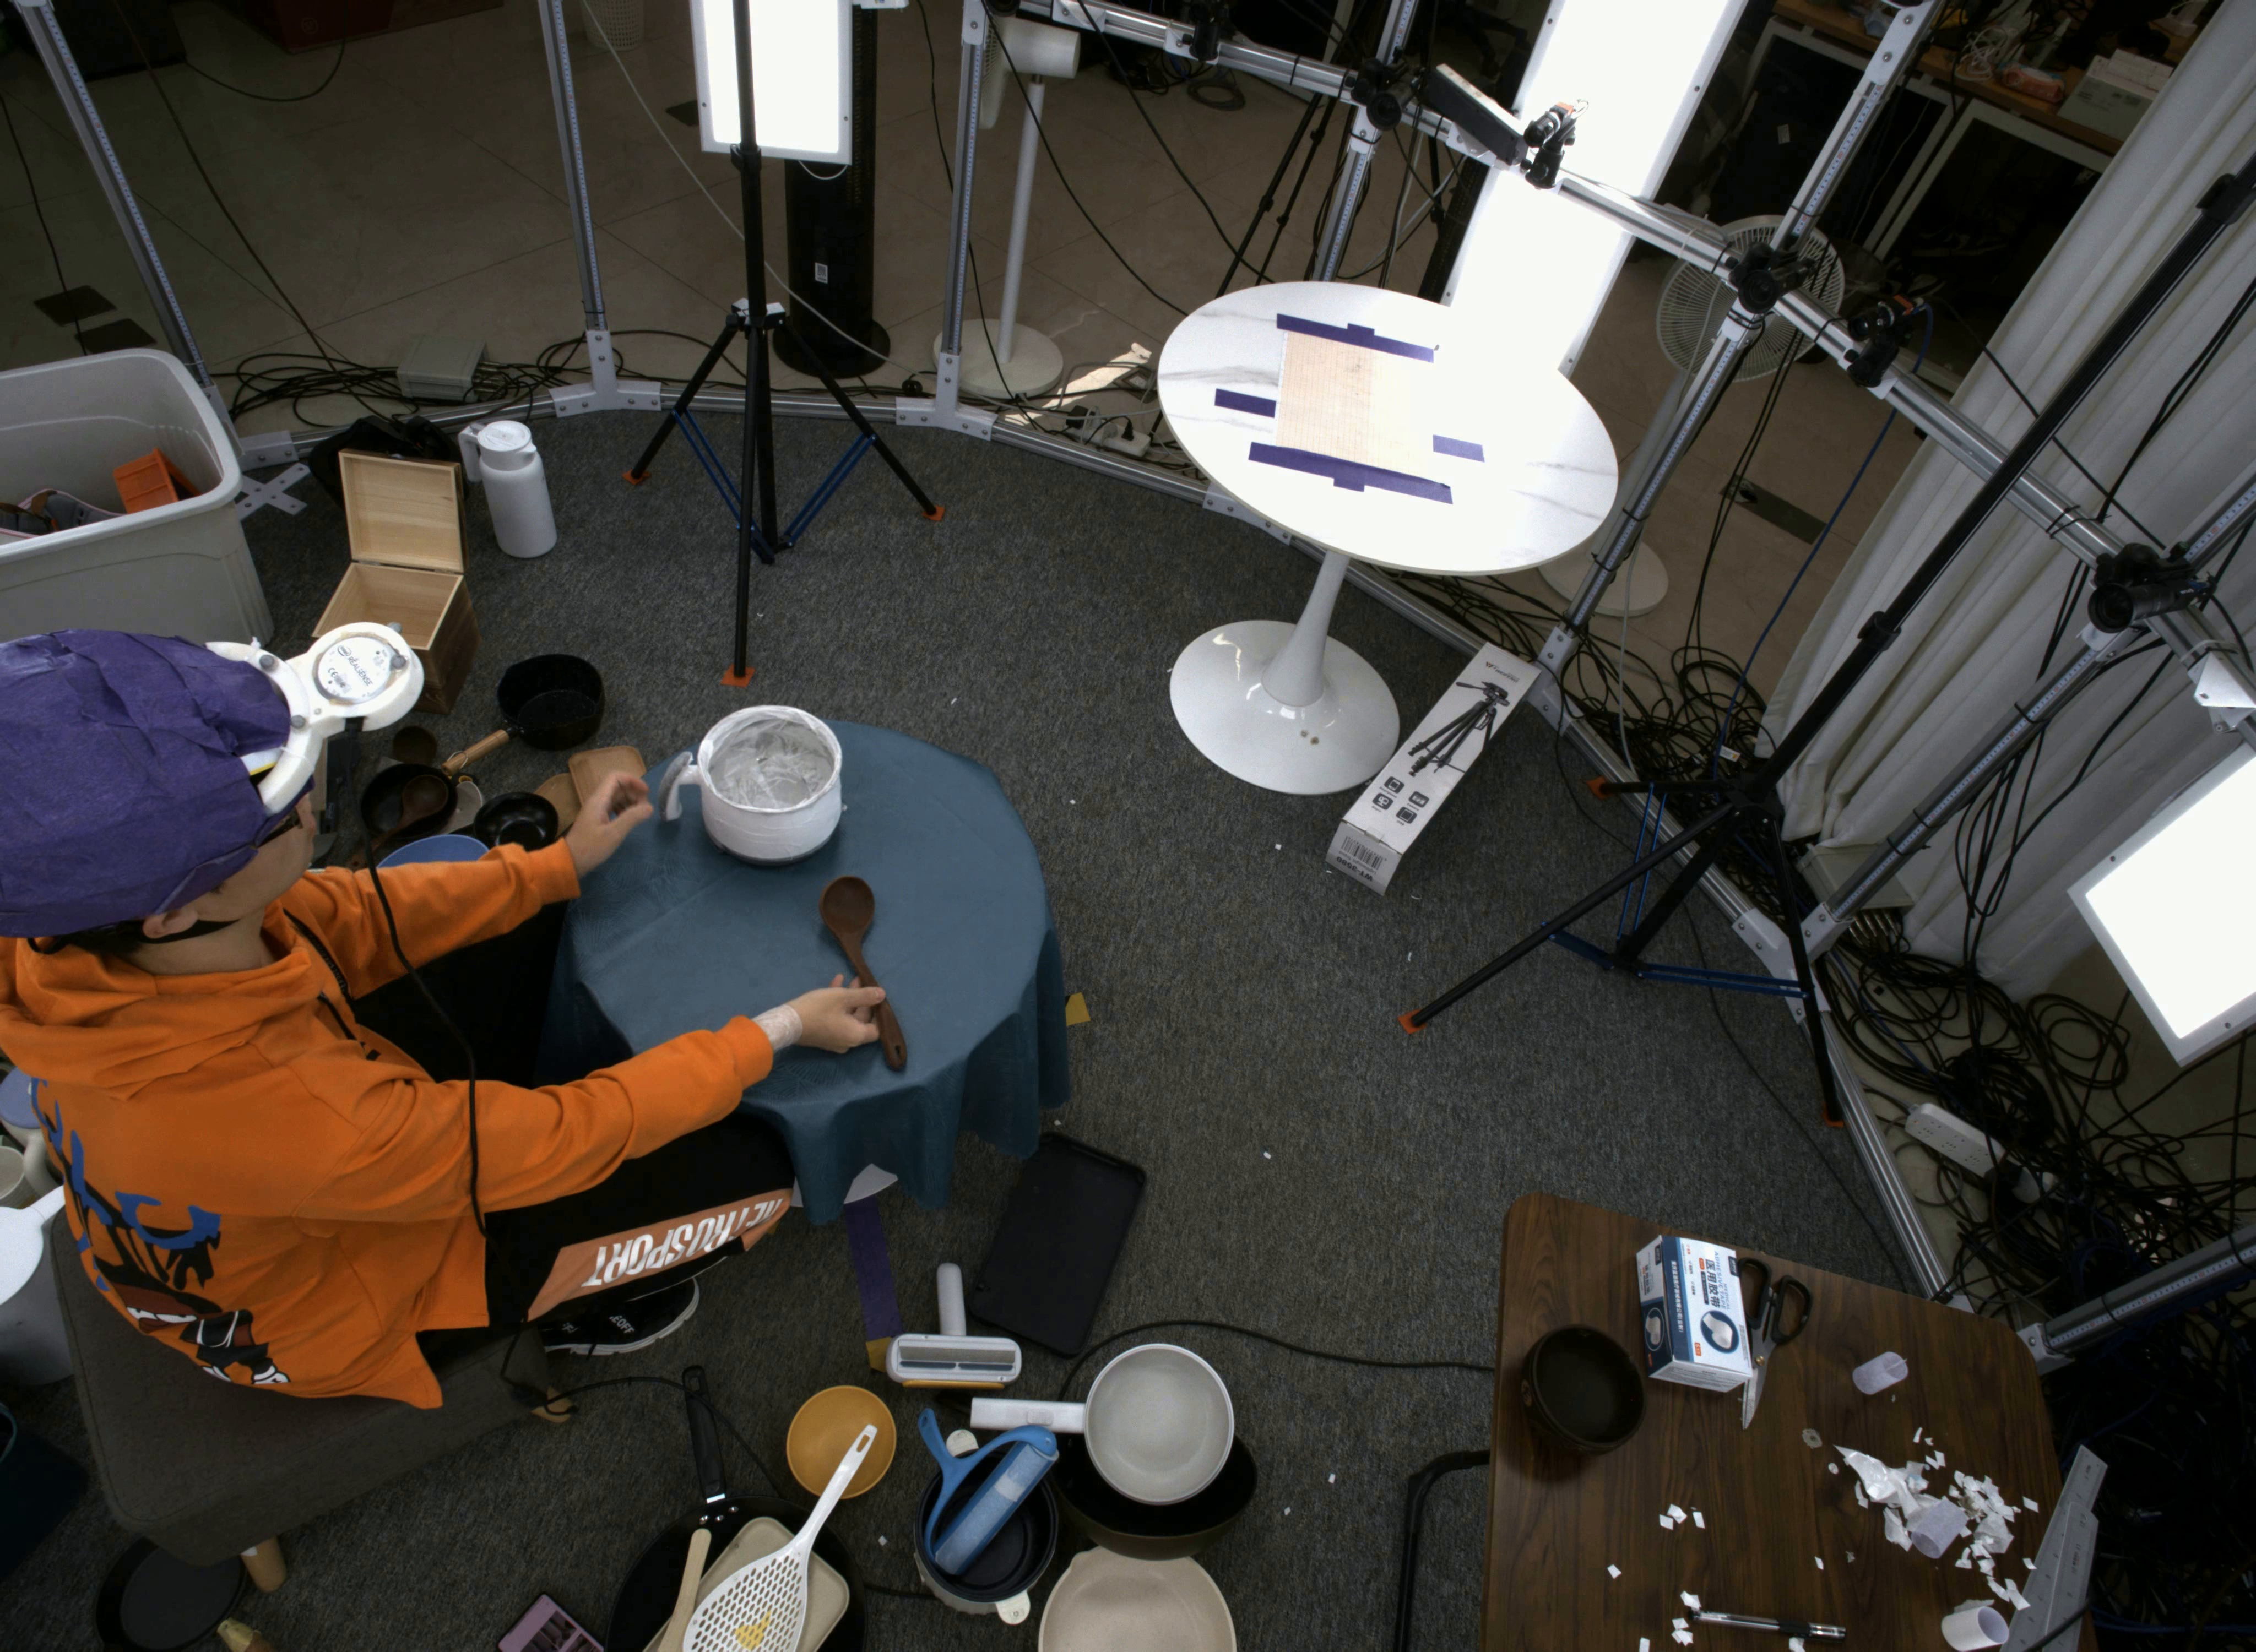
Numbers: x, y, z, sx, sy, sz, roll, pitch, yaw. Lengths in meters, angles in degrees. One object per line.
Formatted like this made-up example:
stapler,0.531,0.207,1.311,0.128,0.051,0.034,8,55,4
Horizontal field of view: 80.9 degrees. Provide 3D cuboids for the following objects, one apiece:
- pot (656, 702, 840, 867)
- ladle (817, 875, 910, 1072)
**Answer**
pot,-0.485,-0.049,1.645,0.234,0.139,0.174,-1,53,-16
ladle,-0.311,0.172,1.574,0.077,0.066,0.253,-7,54,-35
